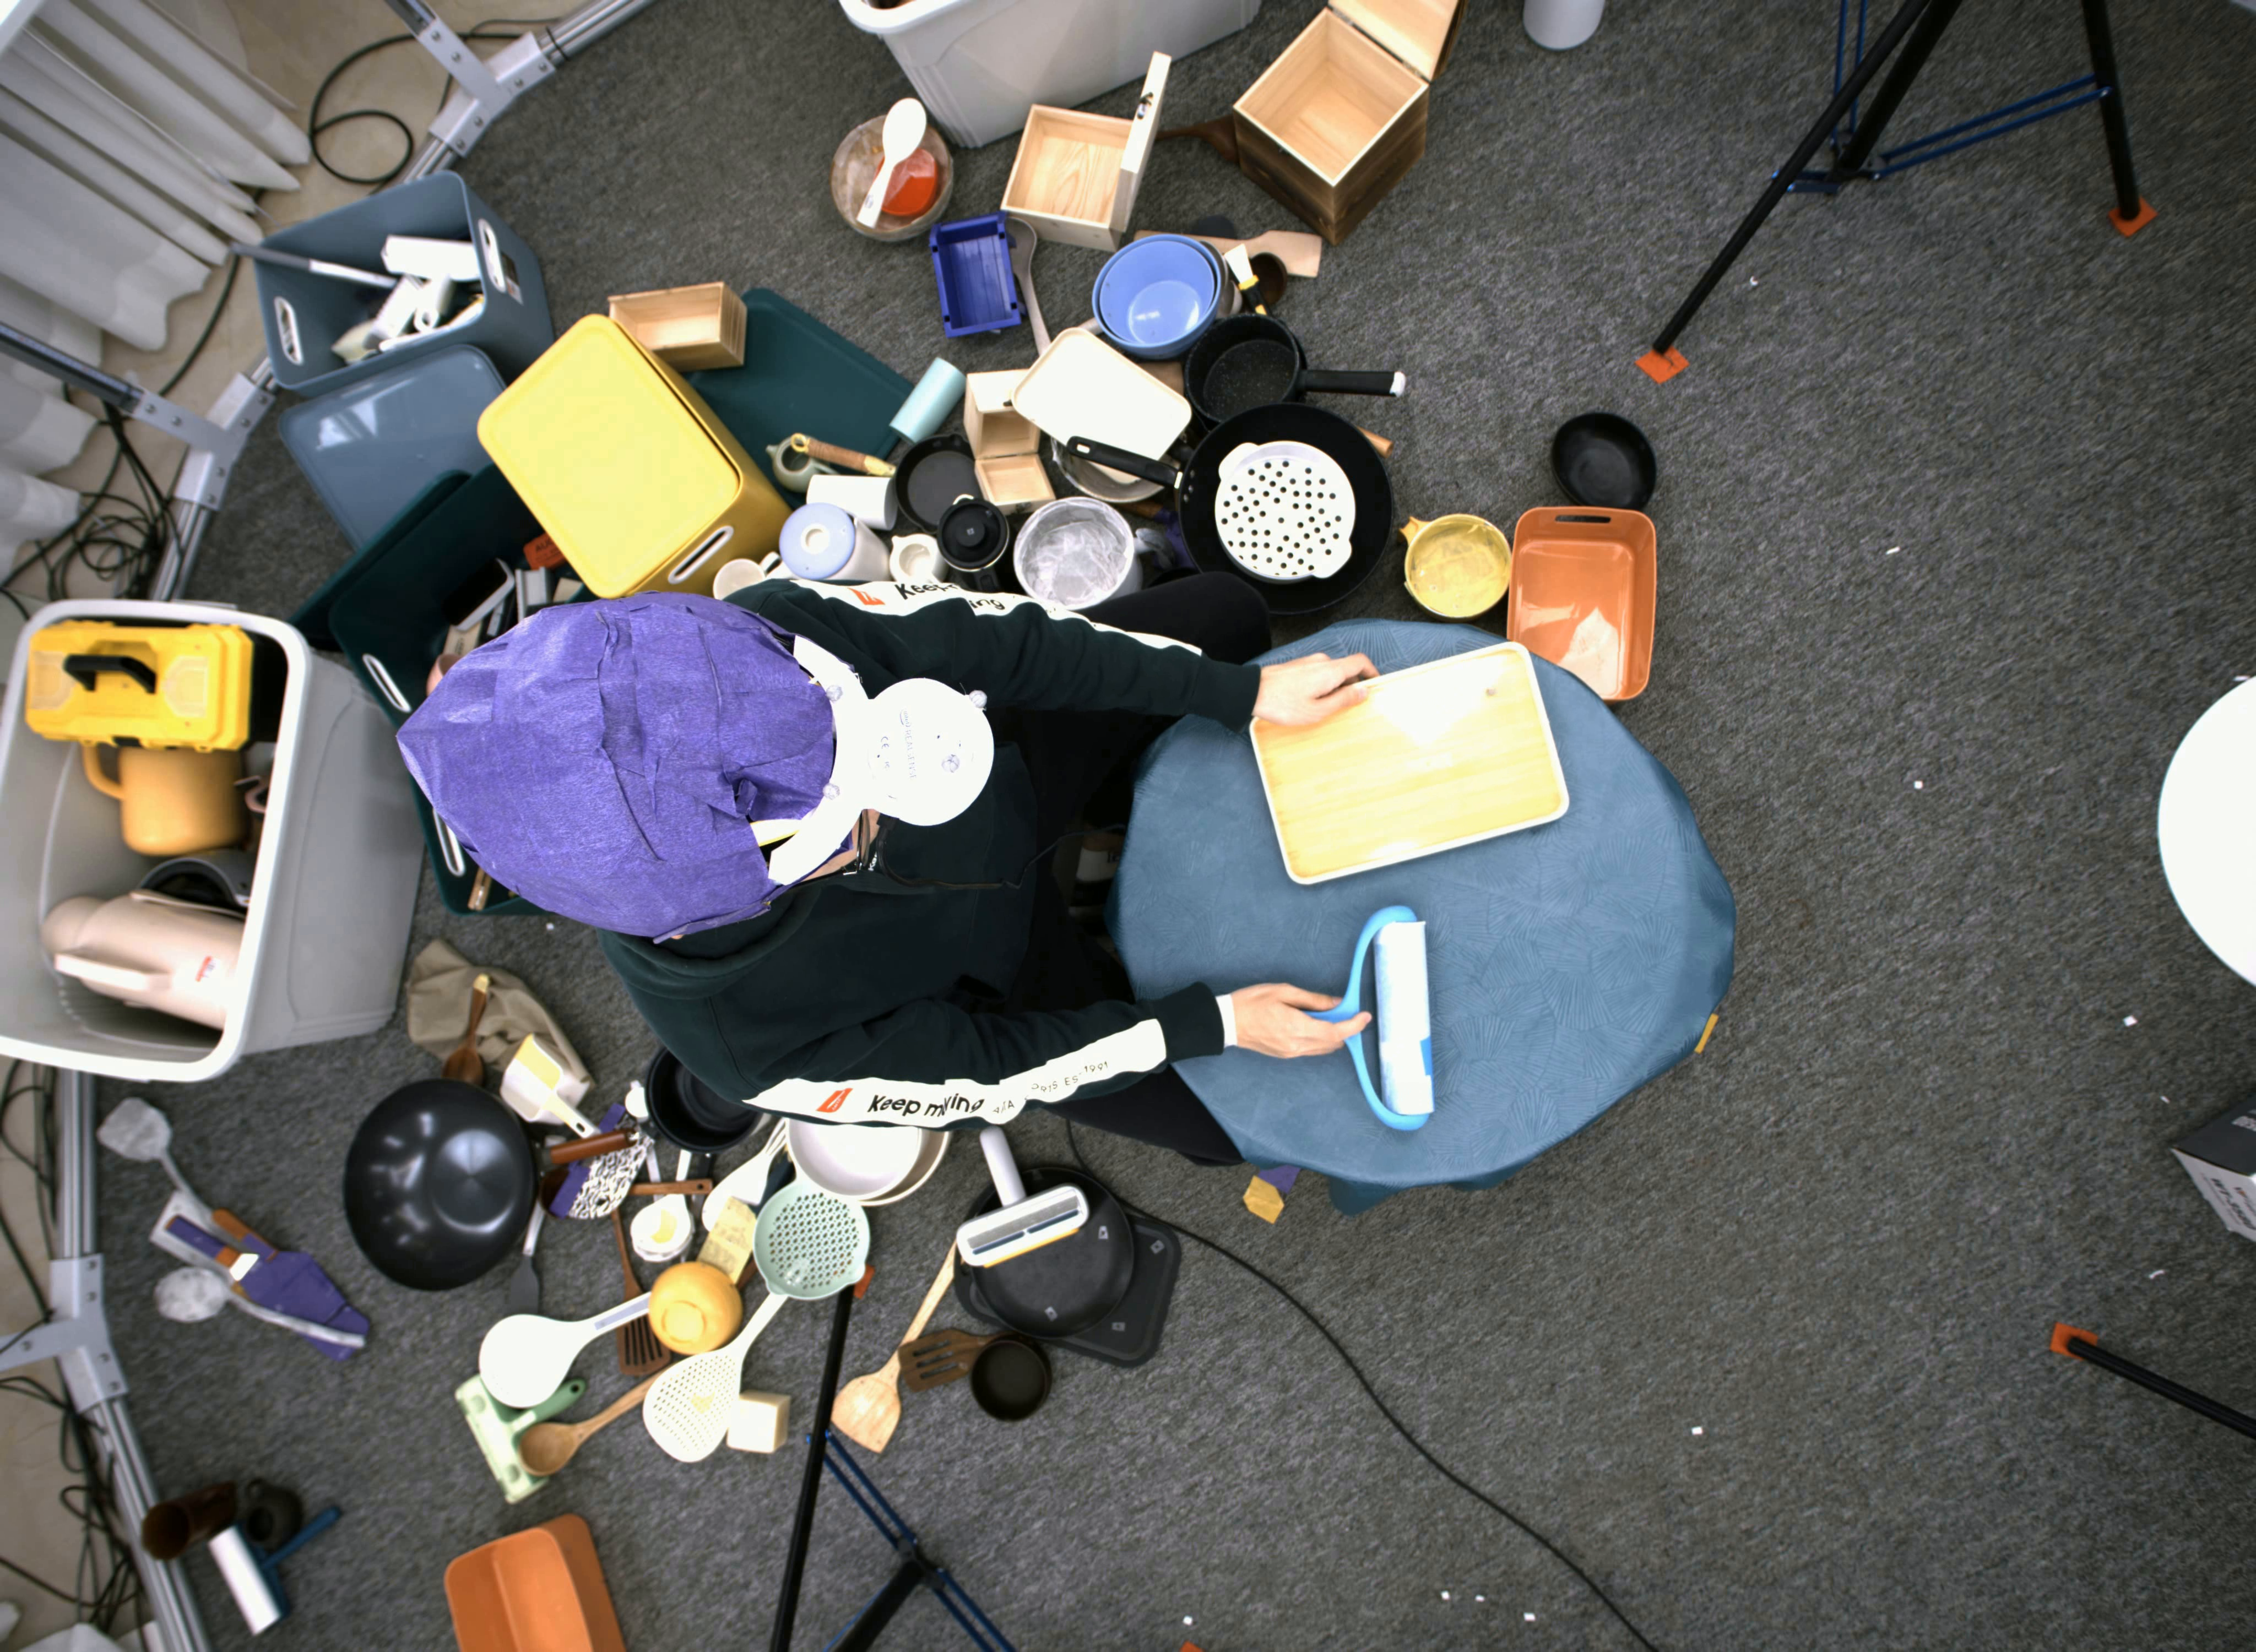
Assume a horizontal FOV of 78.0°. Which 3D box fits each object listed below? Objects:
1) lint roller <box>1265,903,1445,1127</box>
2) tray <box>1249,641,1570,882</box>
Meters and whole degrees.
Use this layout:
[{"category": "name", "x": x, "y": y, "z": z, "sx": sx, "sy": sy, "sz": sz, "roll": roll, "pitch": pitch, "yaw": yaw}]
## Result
[{"category": "lint roller", "x": 0.229, "y": 0.200, "z": 1.425, "sx": 0.181, "sy": 0.067, "sz": 0.228, "roll": -8, "pitch": 90, "yaw": 10}, {"category": "tray", "x": 0.291, "y": -0.067, "z": 1.434, "sx": 0.302, "sy": 0.027, "sz": 0.191, "roll": -15, "pitch": 91, "yaw": 9}]
